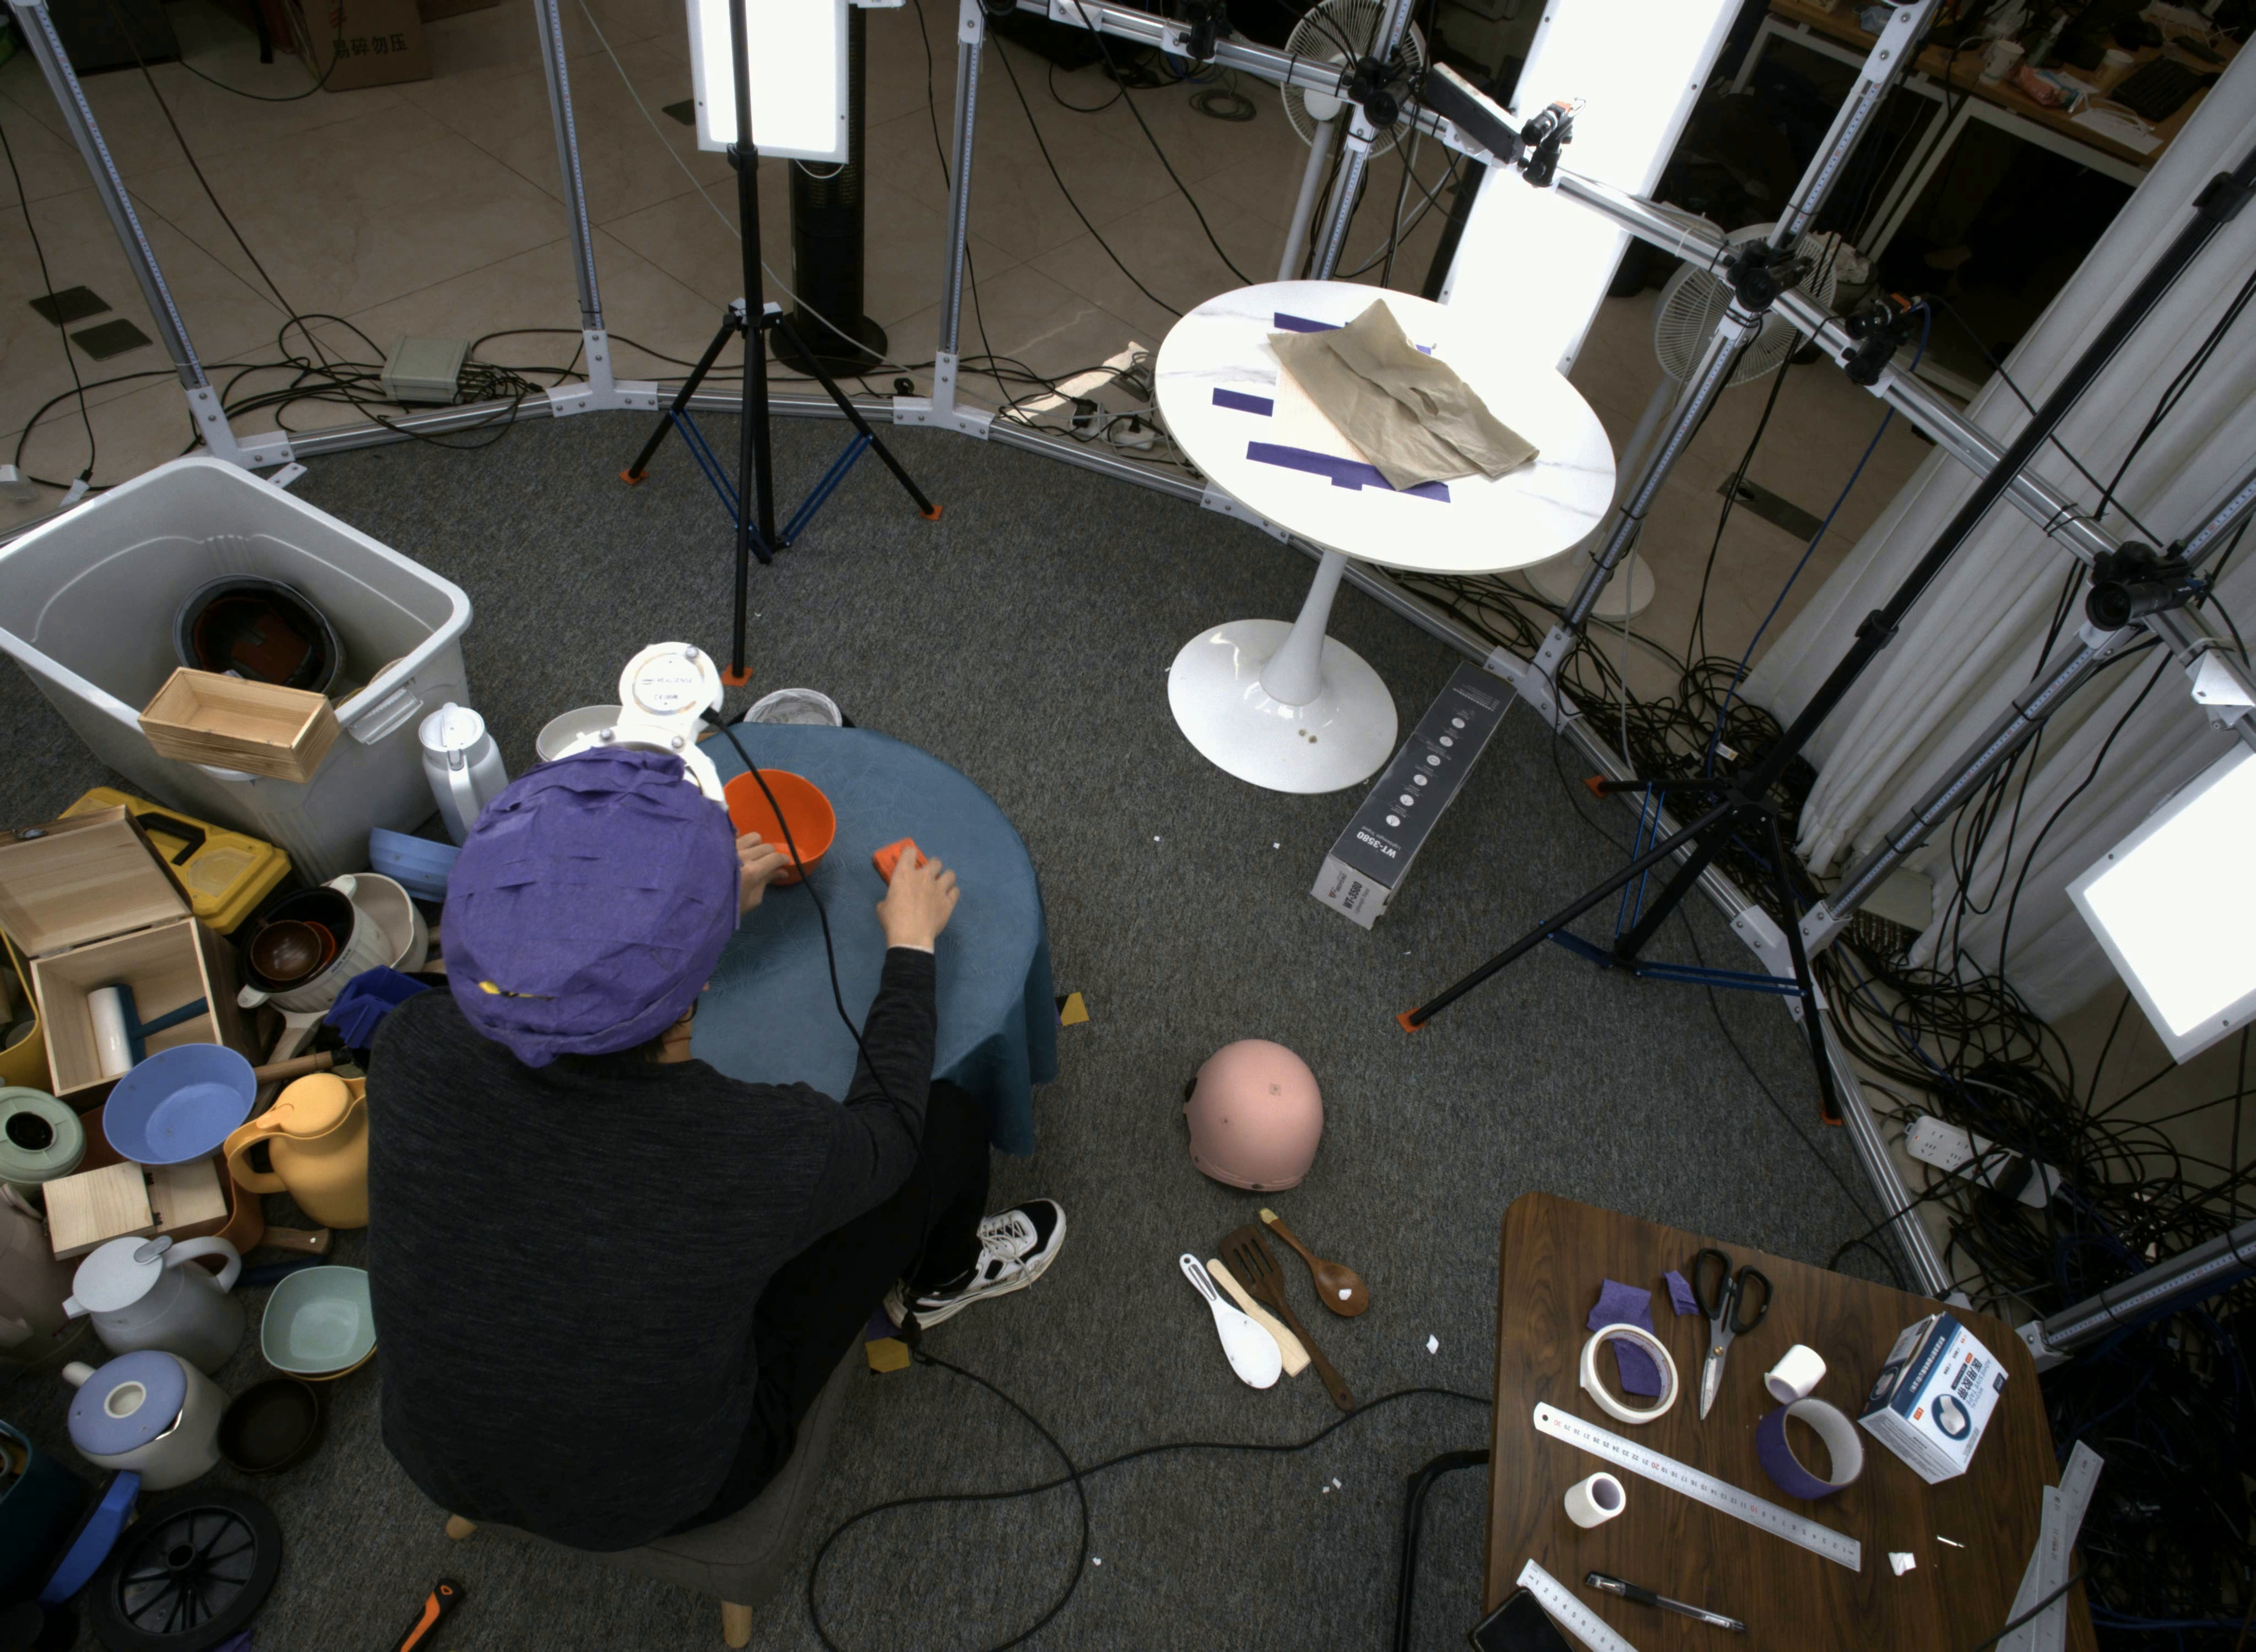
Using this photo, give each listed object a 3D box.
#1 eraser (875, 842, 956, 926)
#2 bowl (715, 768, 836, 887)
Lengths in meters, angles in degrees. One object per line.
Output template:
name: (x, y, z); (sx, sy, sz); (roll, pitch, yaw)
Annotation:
eraser: (-0.269, 0.071, 1.641); (0.059, 0.023, 0.106); (-29, 68, -34)
bowl: (-0.444, 0.012, 1.635); (0.148, 0.107, 0.145); (10, 47, -9)
